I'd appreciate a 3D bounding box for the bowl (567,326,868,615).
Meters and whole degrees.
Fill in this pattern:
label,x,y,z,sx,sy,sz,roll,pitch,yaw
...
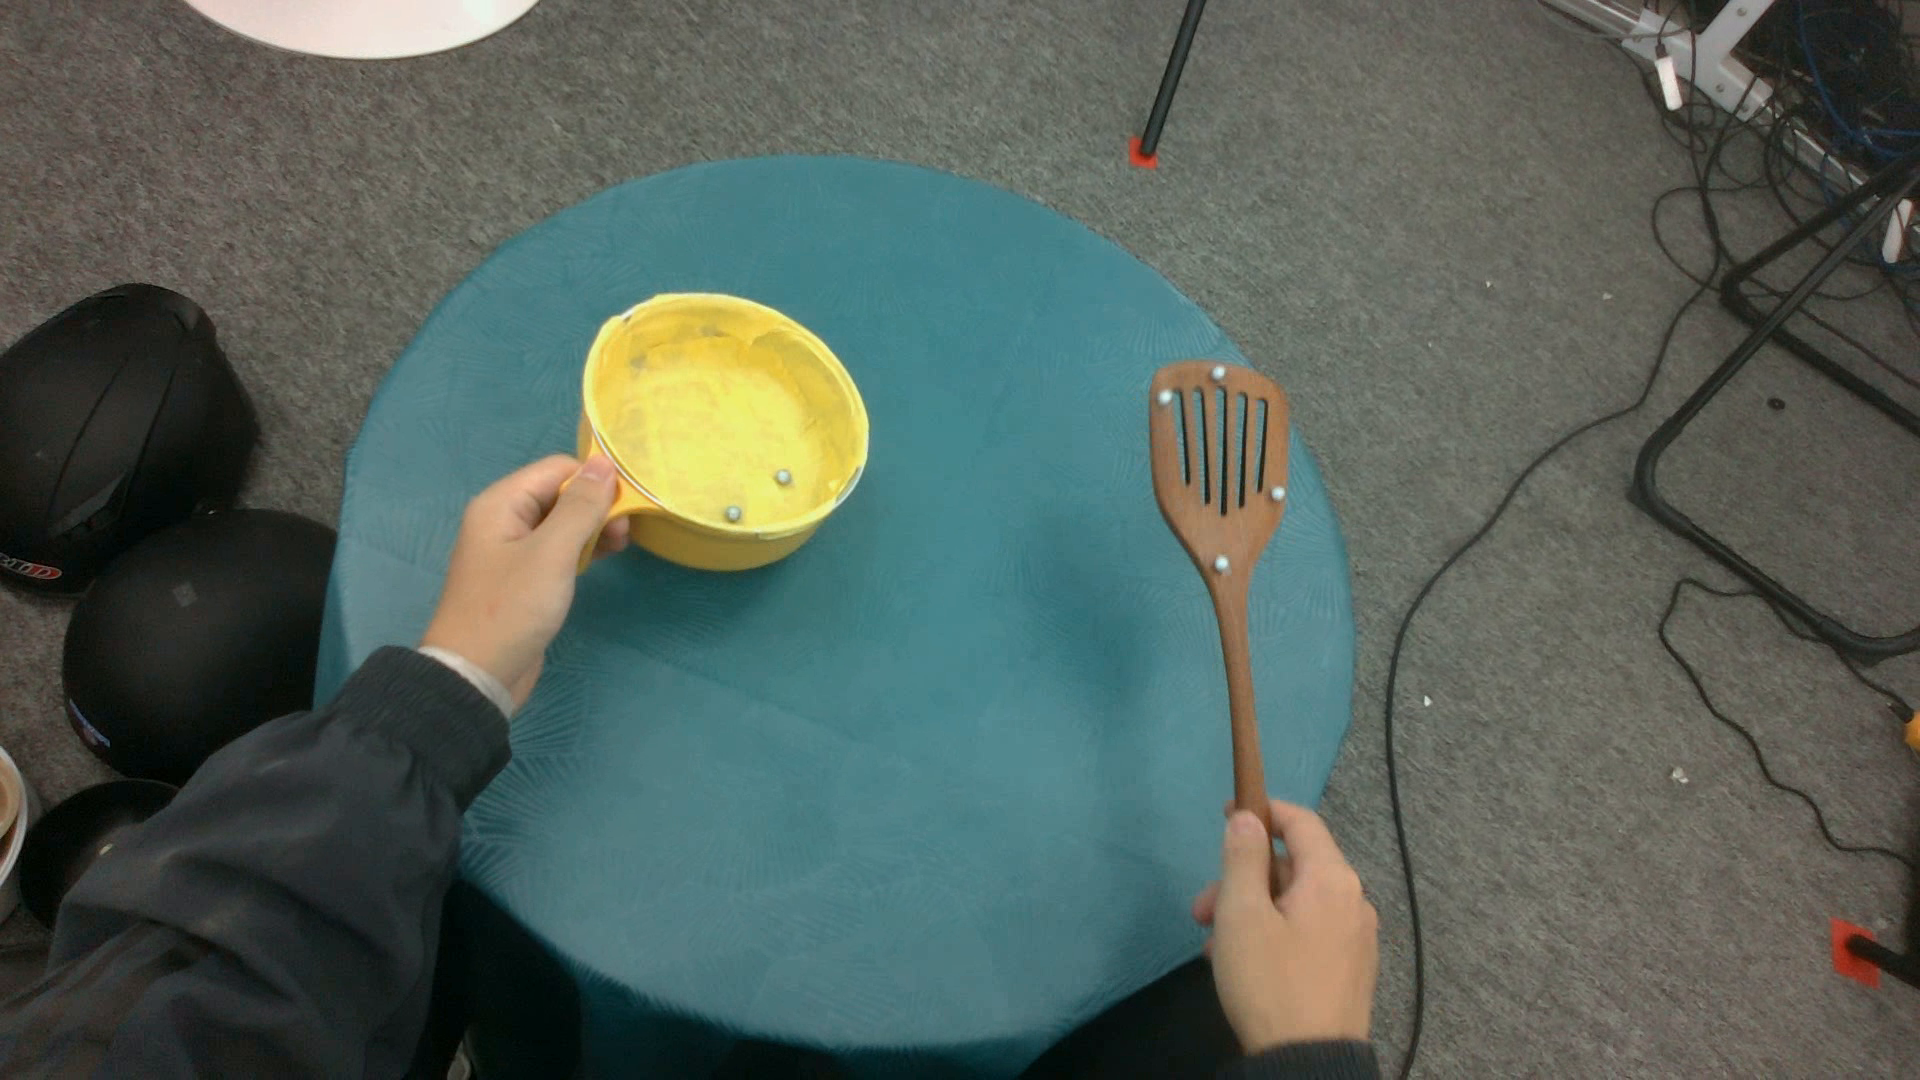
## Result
label,x,y,z,sx,sy,sz,roll,pitch,yaw
bowl,-0.142,-0.035,0.758,0.153,0.074,0.180,37,50,5

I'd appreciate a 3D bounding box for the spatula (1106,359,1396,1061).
label,x,y,z,sx,sy,sz,roll,pitch,yaw
spatula,0.160,0.074,0.731,0.085,0.024,0.388,-9,66,-10
